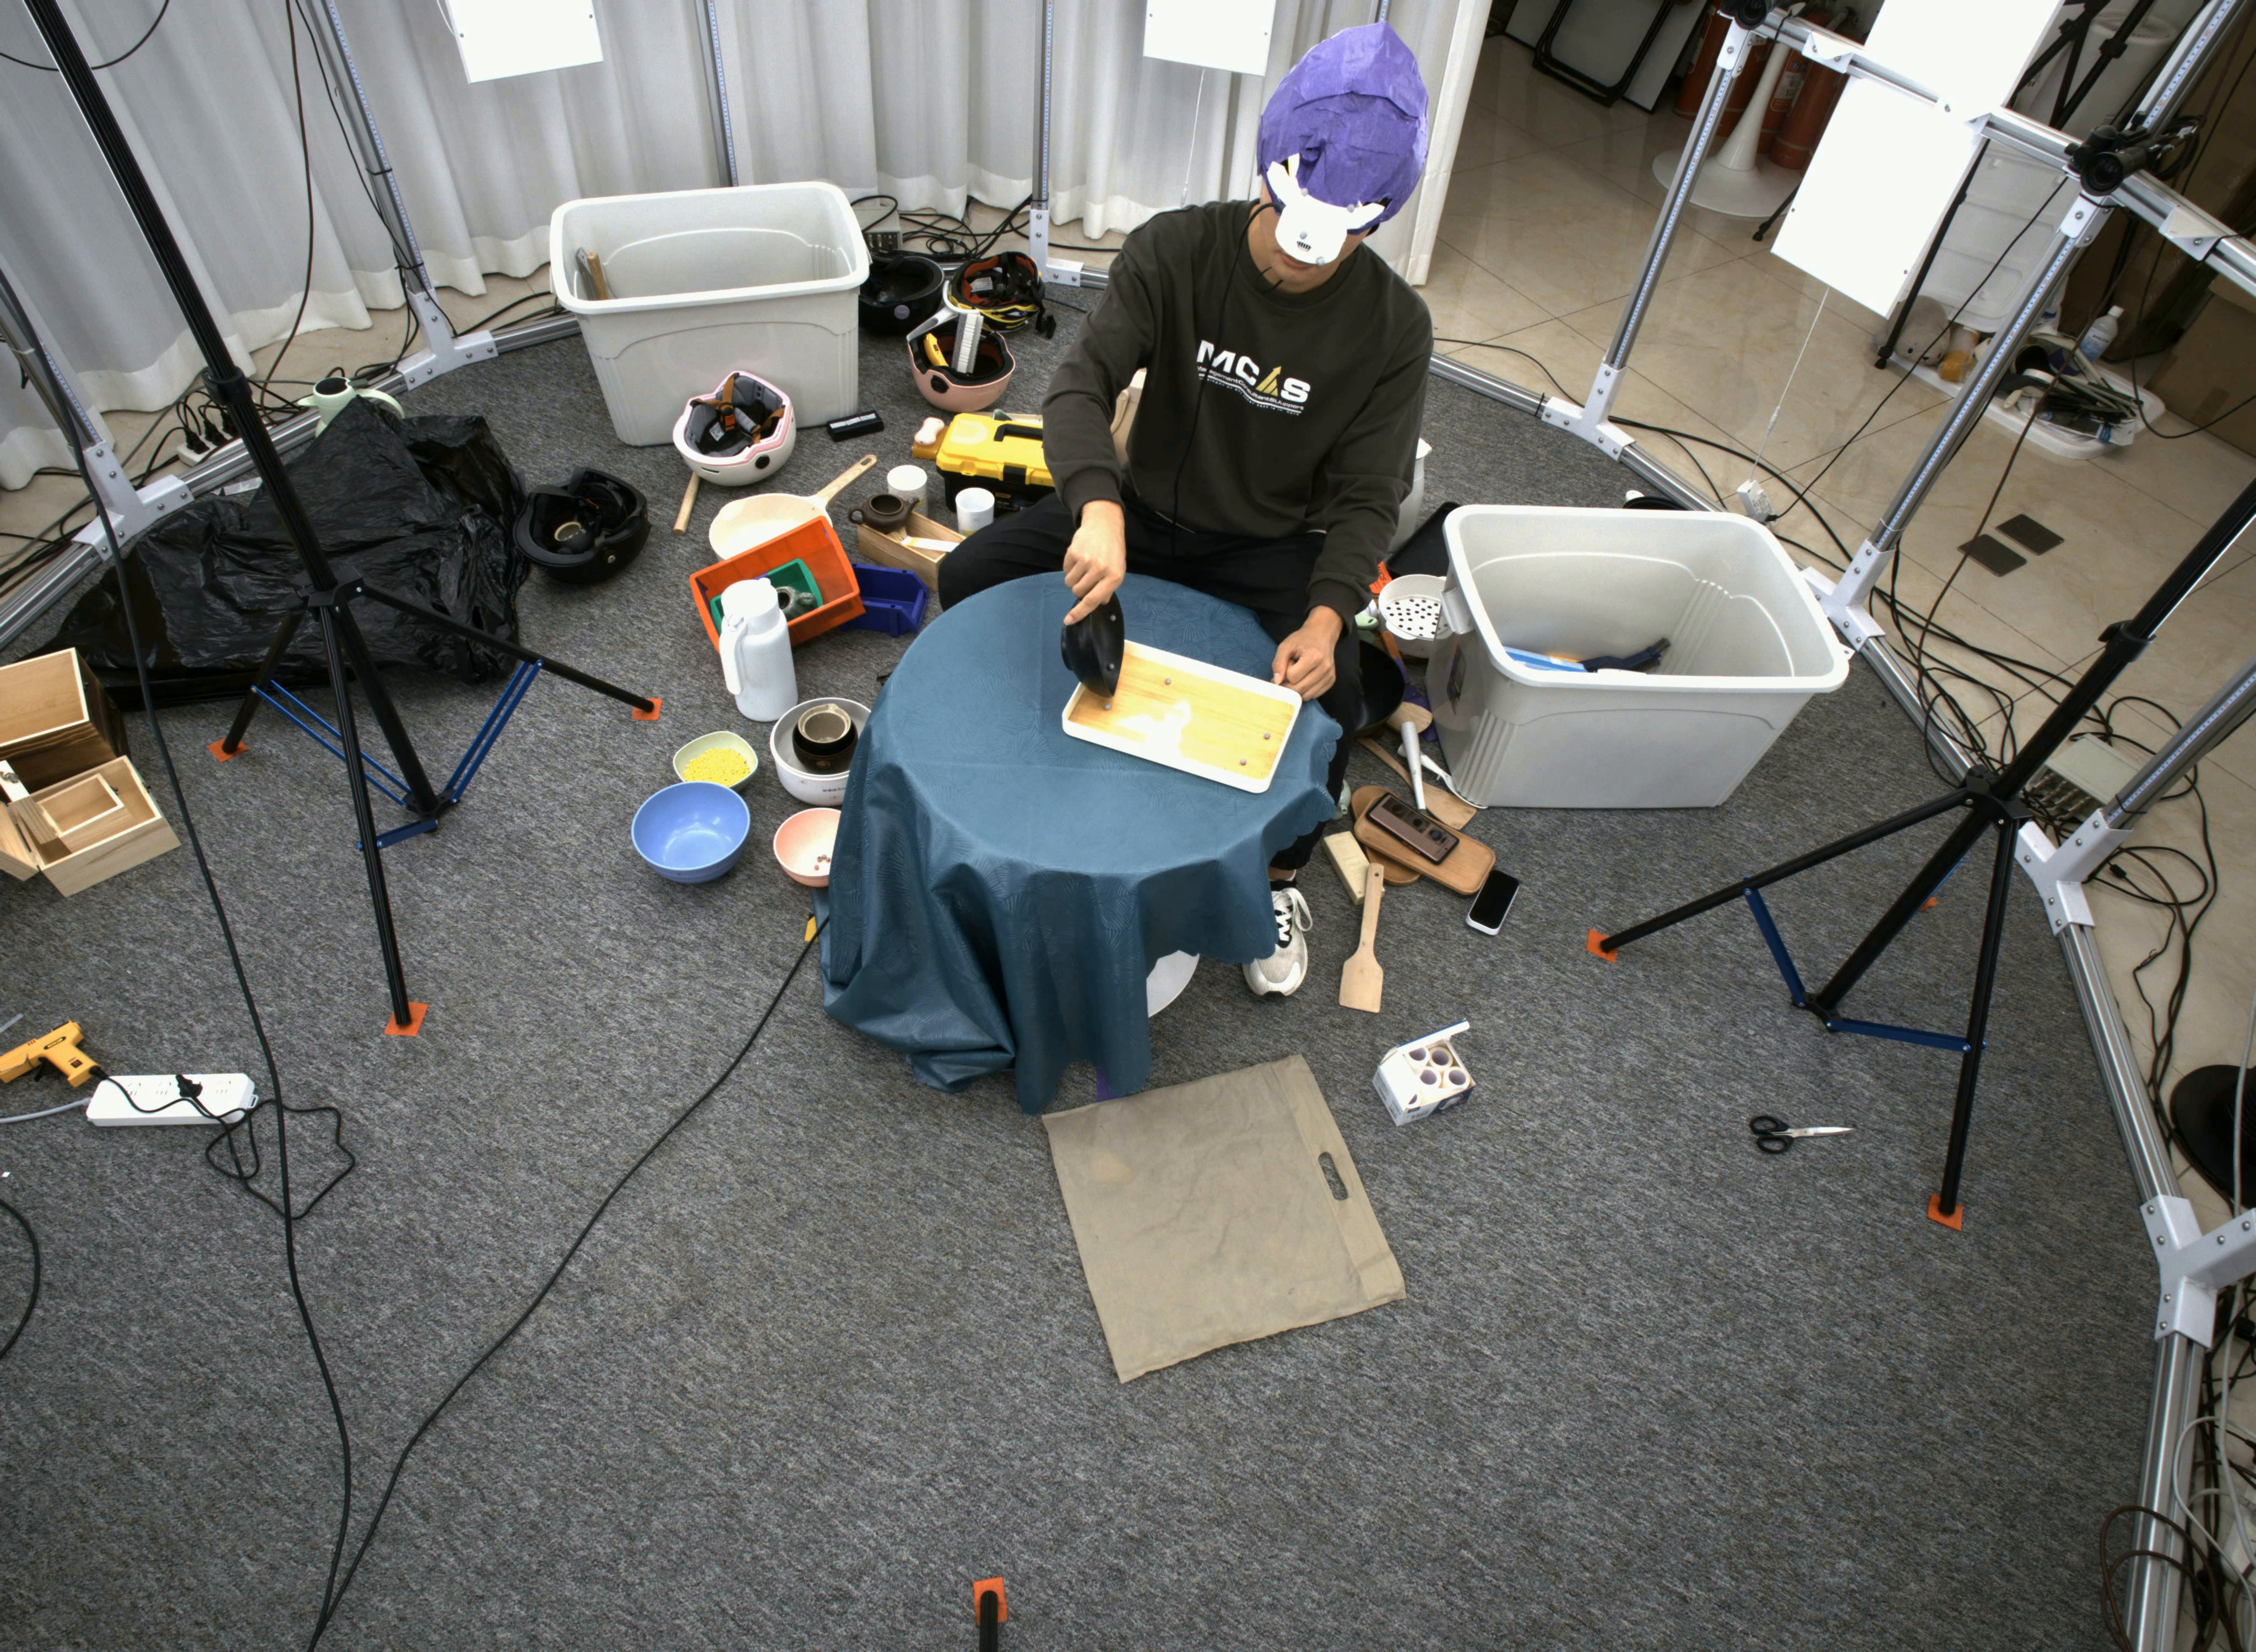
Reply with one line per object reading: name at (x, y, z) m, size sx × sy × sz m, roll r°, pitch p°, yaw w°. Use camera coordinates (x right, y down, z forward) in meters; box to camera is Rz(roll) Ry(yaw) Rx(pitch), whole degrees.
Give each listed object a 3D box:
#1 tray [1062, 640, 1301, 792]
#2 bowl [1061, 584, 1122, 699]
tray at (0.076, -0.158, 1.790) m, size 0.301 × 0.027 × 0.195 m, roll 18°, pitch 50°, yaw 11°
bowl at (-0.052, -0.252, 1.760) m, size 0.067 × 0.166 × 0.140 m, roll 3°, pitch 52°, yaw 15°
